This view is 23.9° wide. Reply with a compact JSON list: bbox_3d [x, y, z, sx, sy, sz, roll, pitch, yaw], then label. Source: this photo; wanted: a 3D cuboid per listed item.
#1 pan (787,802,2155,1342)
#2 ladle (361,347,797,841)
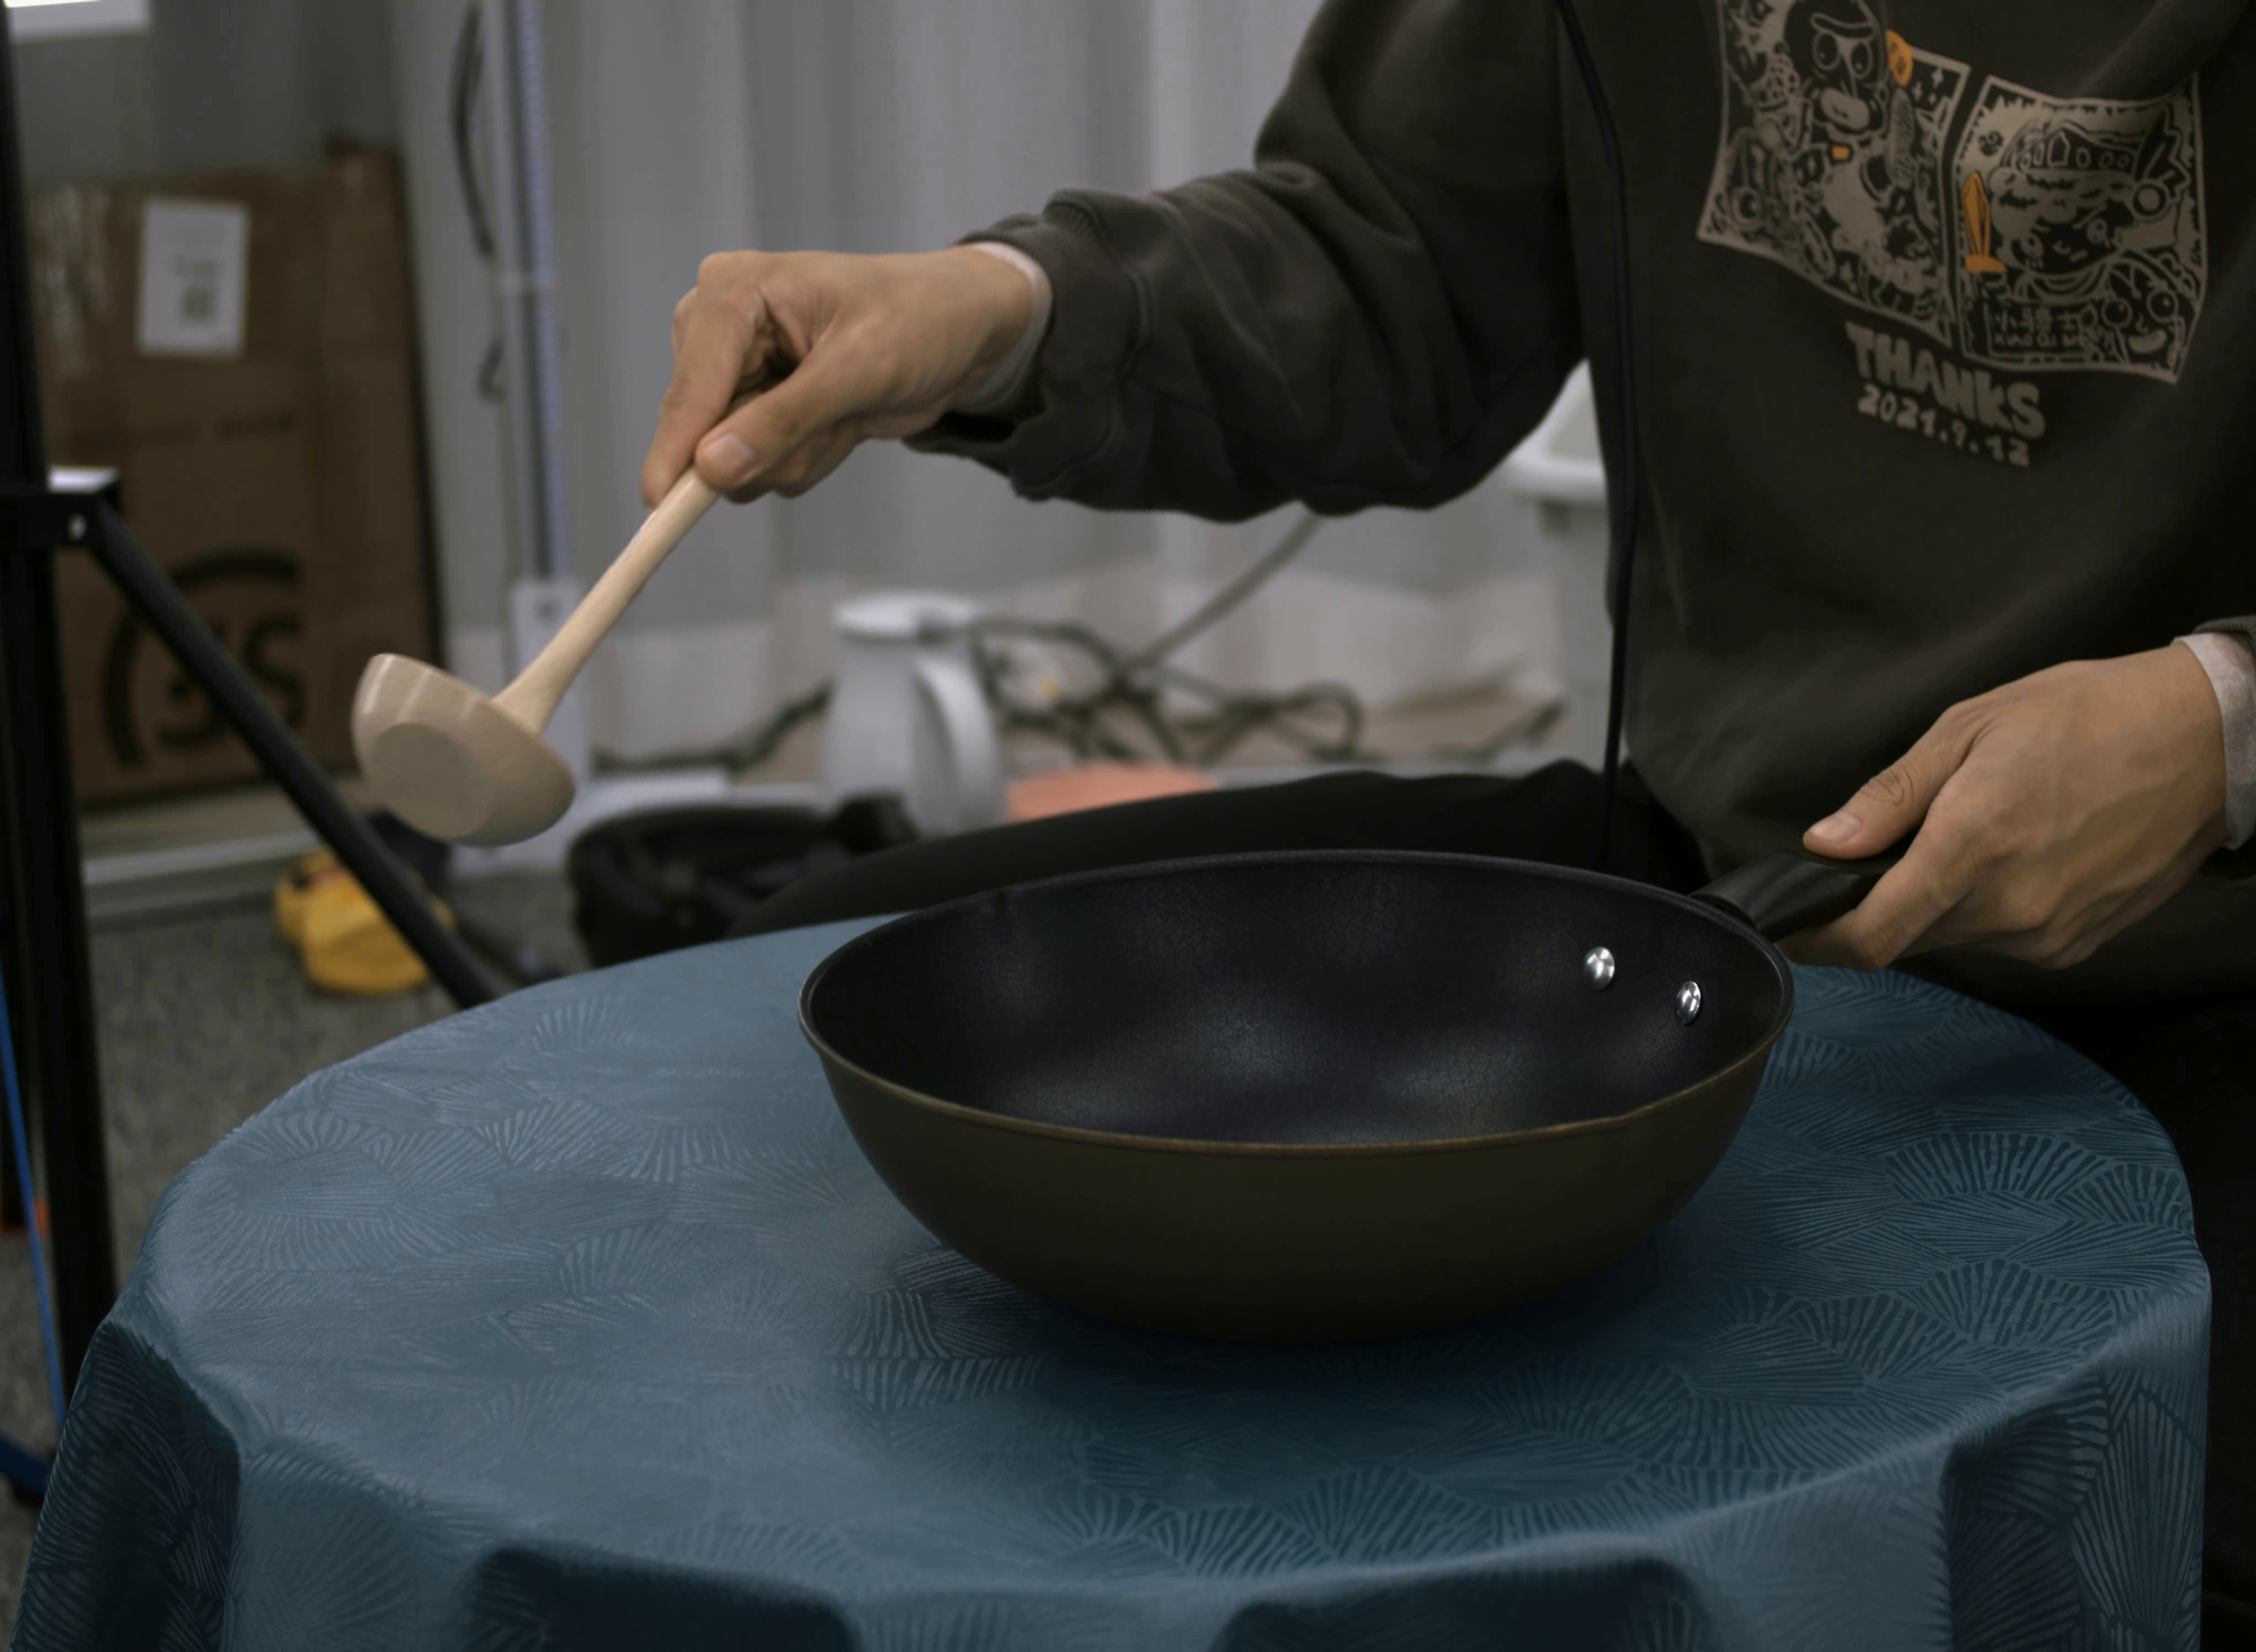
[{"bbox_3d":[0.120,0.066,1.541,0.453,0.087,0.294,-11,17,-32],"label":"pan"},{"bbox_3d":[-0.152,-0.093,1.618,0.072,0.073,0.253,24,49,7],"label":"ladle"}]
